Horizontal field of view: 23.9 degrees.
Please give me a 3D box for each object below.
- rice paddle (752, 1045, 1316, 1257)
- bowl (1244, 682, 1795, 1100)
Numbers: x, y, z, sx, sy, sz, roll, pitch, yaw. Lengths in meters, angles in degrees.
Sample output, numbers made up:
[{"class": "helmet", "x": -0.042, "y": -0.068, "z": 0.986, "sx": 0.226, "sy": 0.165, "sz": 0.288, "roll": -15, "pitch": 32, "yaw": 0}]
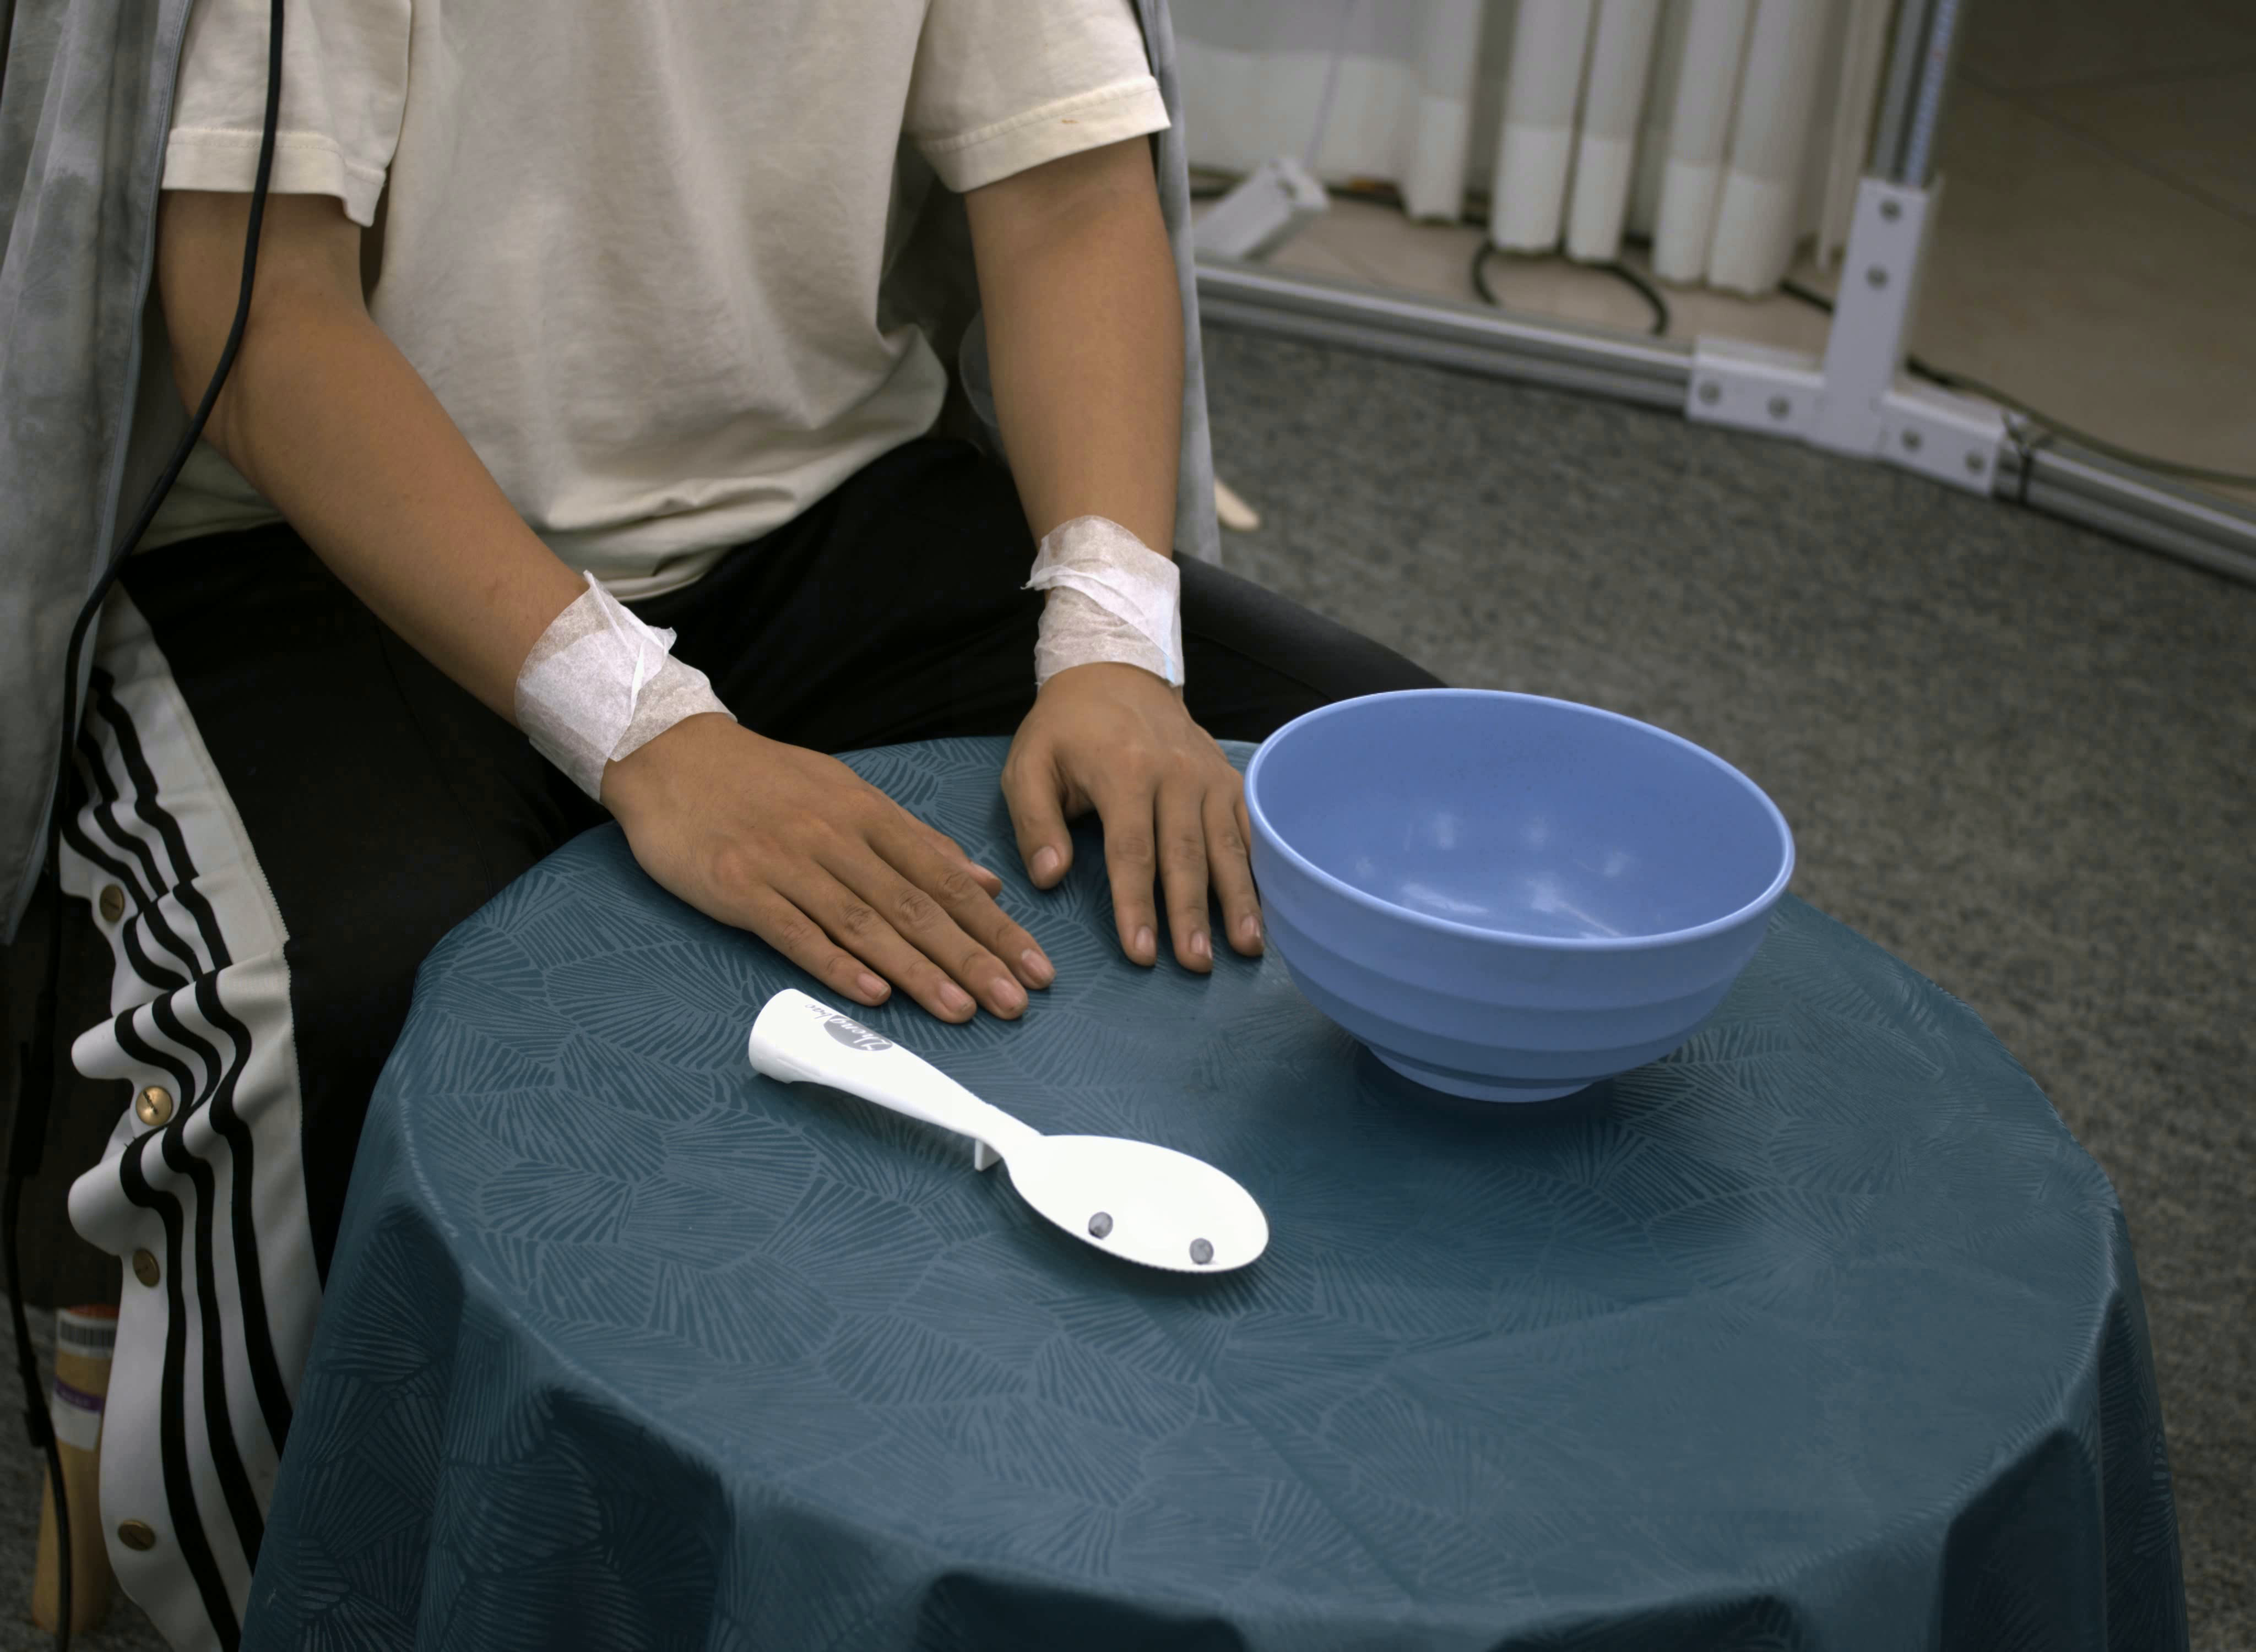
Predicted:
[{"class": "rice paddle", "x": -0.031, "y": 0.113, "z": 1.797, "sx": 0.206, "sy": 0.029, "sz": 0.068, "roll": 14, "pitch": 15, "yaw": 23}, {"class": "bowl", "x": 0.134, "y": 0.034, "z": 1.904, "sx": 0.196, "sy": 0.095, "sz": 0.198, "roll": 5, "pitch": 29, "yaw": -3}]
